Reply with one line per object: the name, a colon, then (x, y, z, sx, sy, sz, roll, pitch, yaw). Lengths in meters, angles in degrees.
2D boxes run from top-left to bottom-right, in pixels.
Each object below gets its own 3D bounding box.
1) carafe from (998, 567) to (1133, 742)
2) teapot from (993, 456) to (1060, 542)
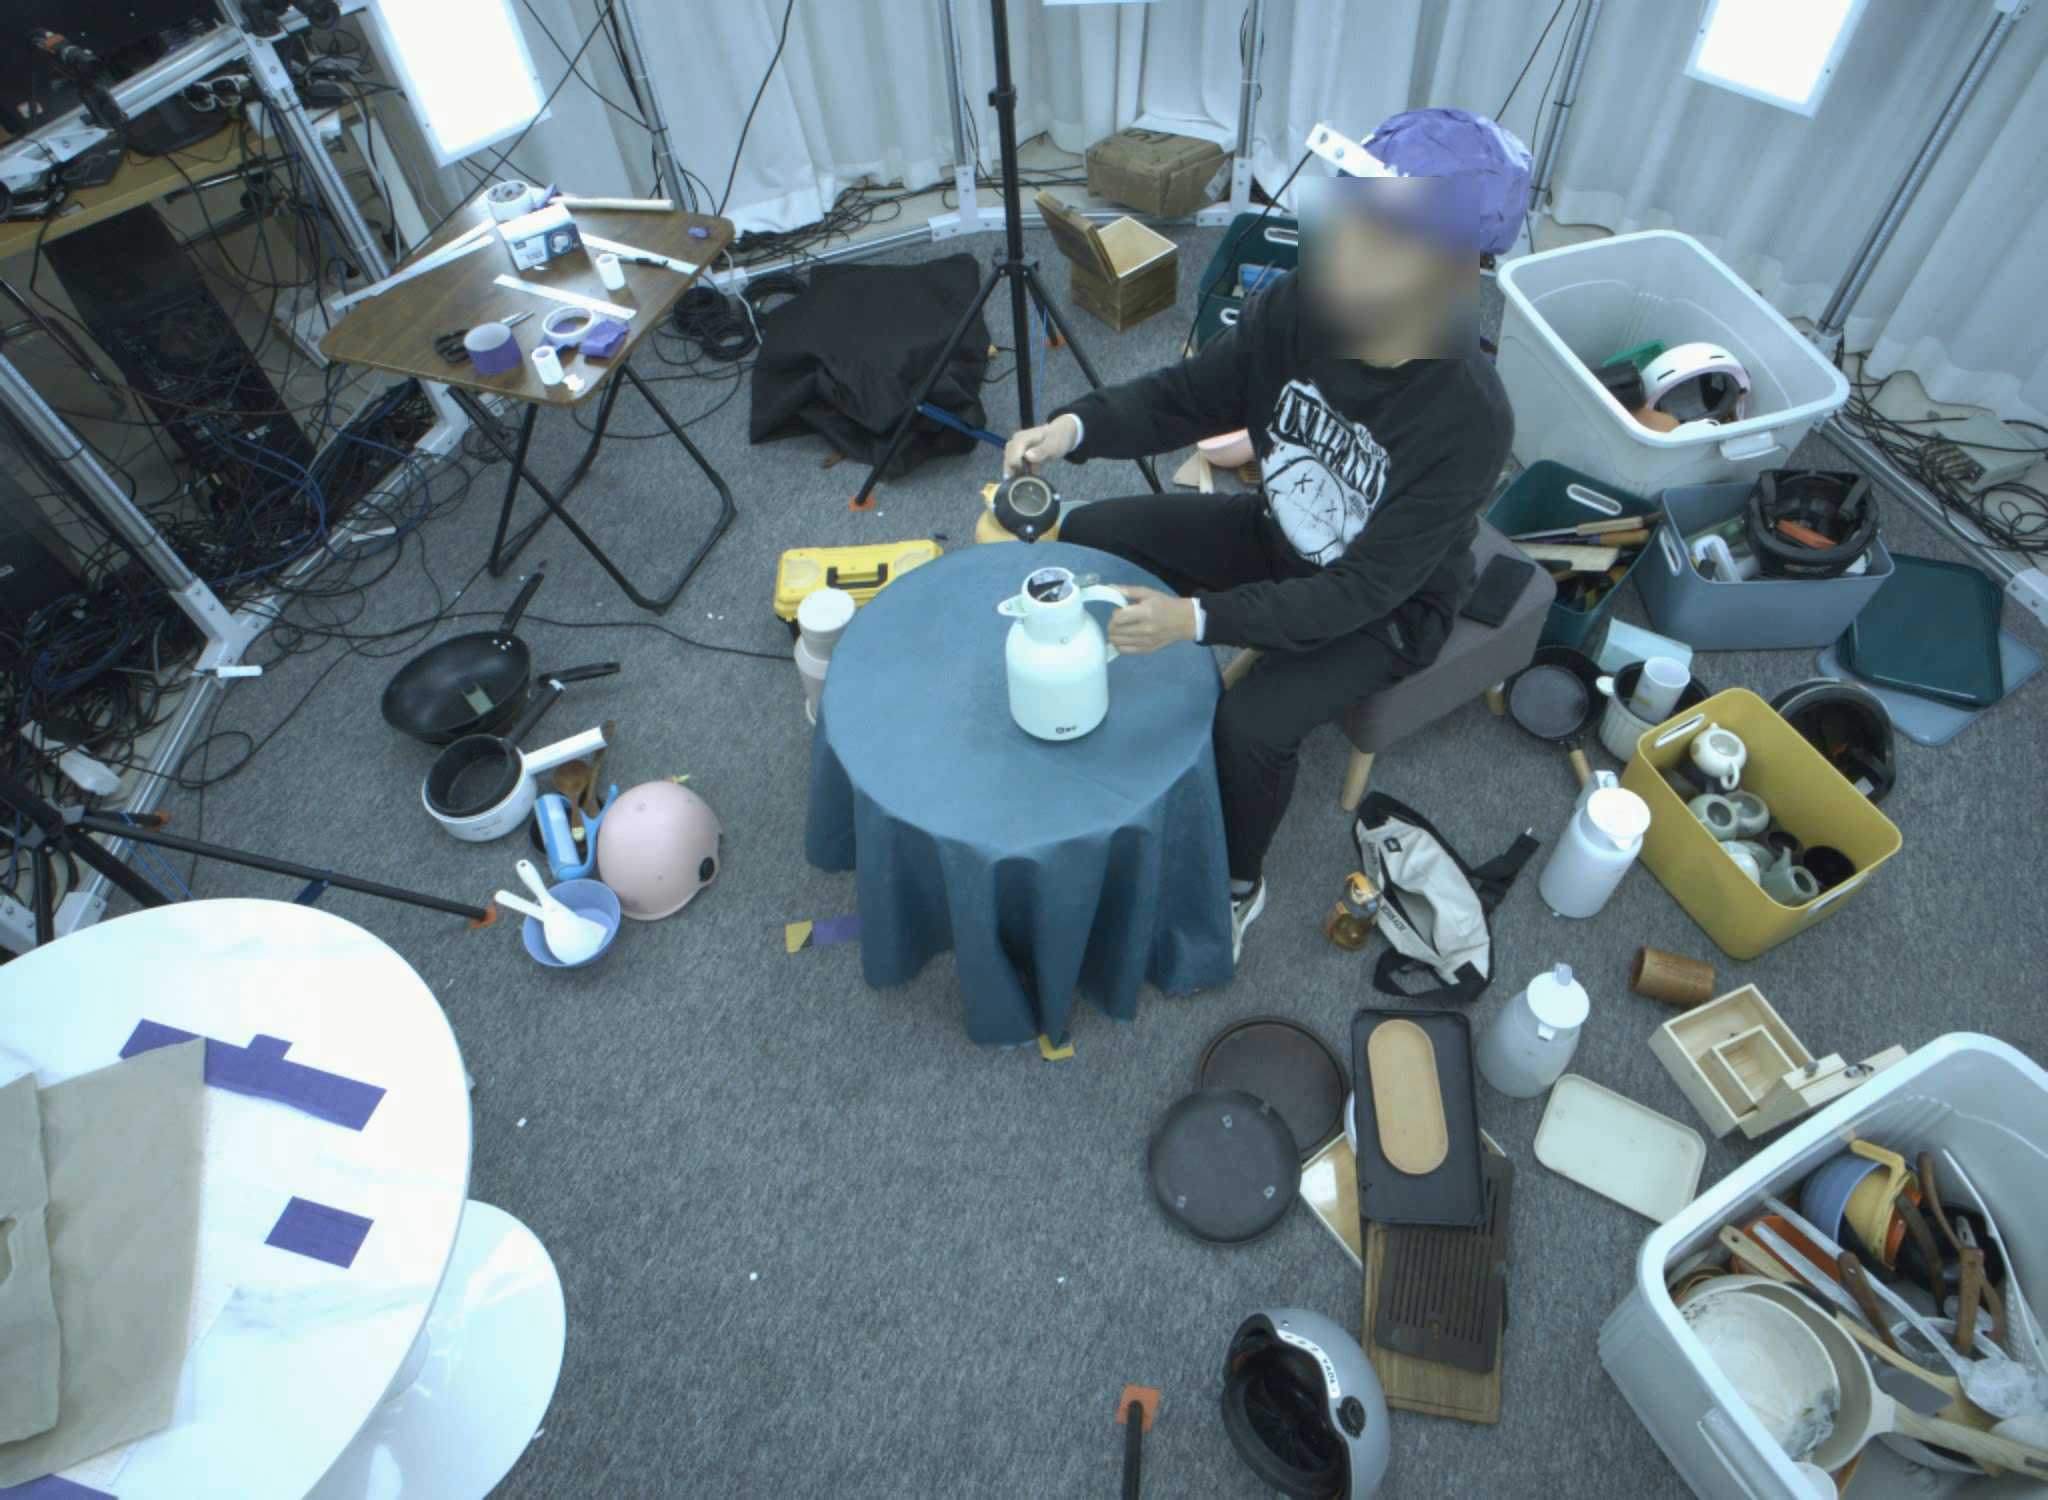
carafe: (0.057, -0.141, 1.726, 0.188, 0.259, 0.142, -10, 50, -8)
teapot: (0.002, -0.332, 1.643, 0.092, 0.053, 0.132, 0, 77, -11)
